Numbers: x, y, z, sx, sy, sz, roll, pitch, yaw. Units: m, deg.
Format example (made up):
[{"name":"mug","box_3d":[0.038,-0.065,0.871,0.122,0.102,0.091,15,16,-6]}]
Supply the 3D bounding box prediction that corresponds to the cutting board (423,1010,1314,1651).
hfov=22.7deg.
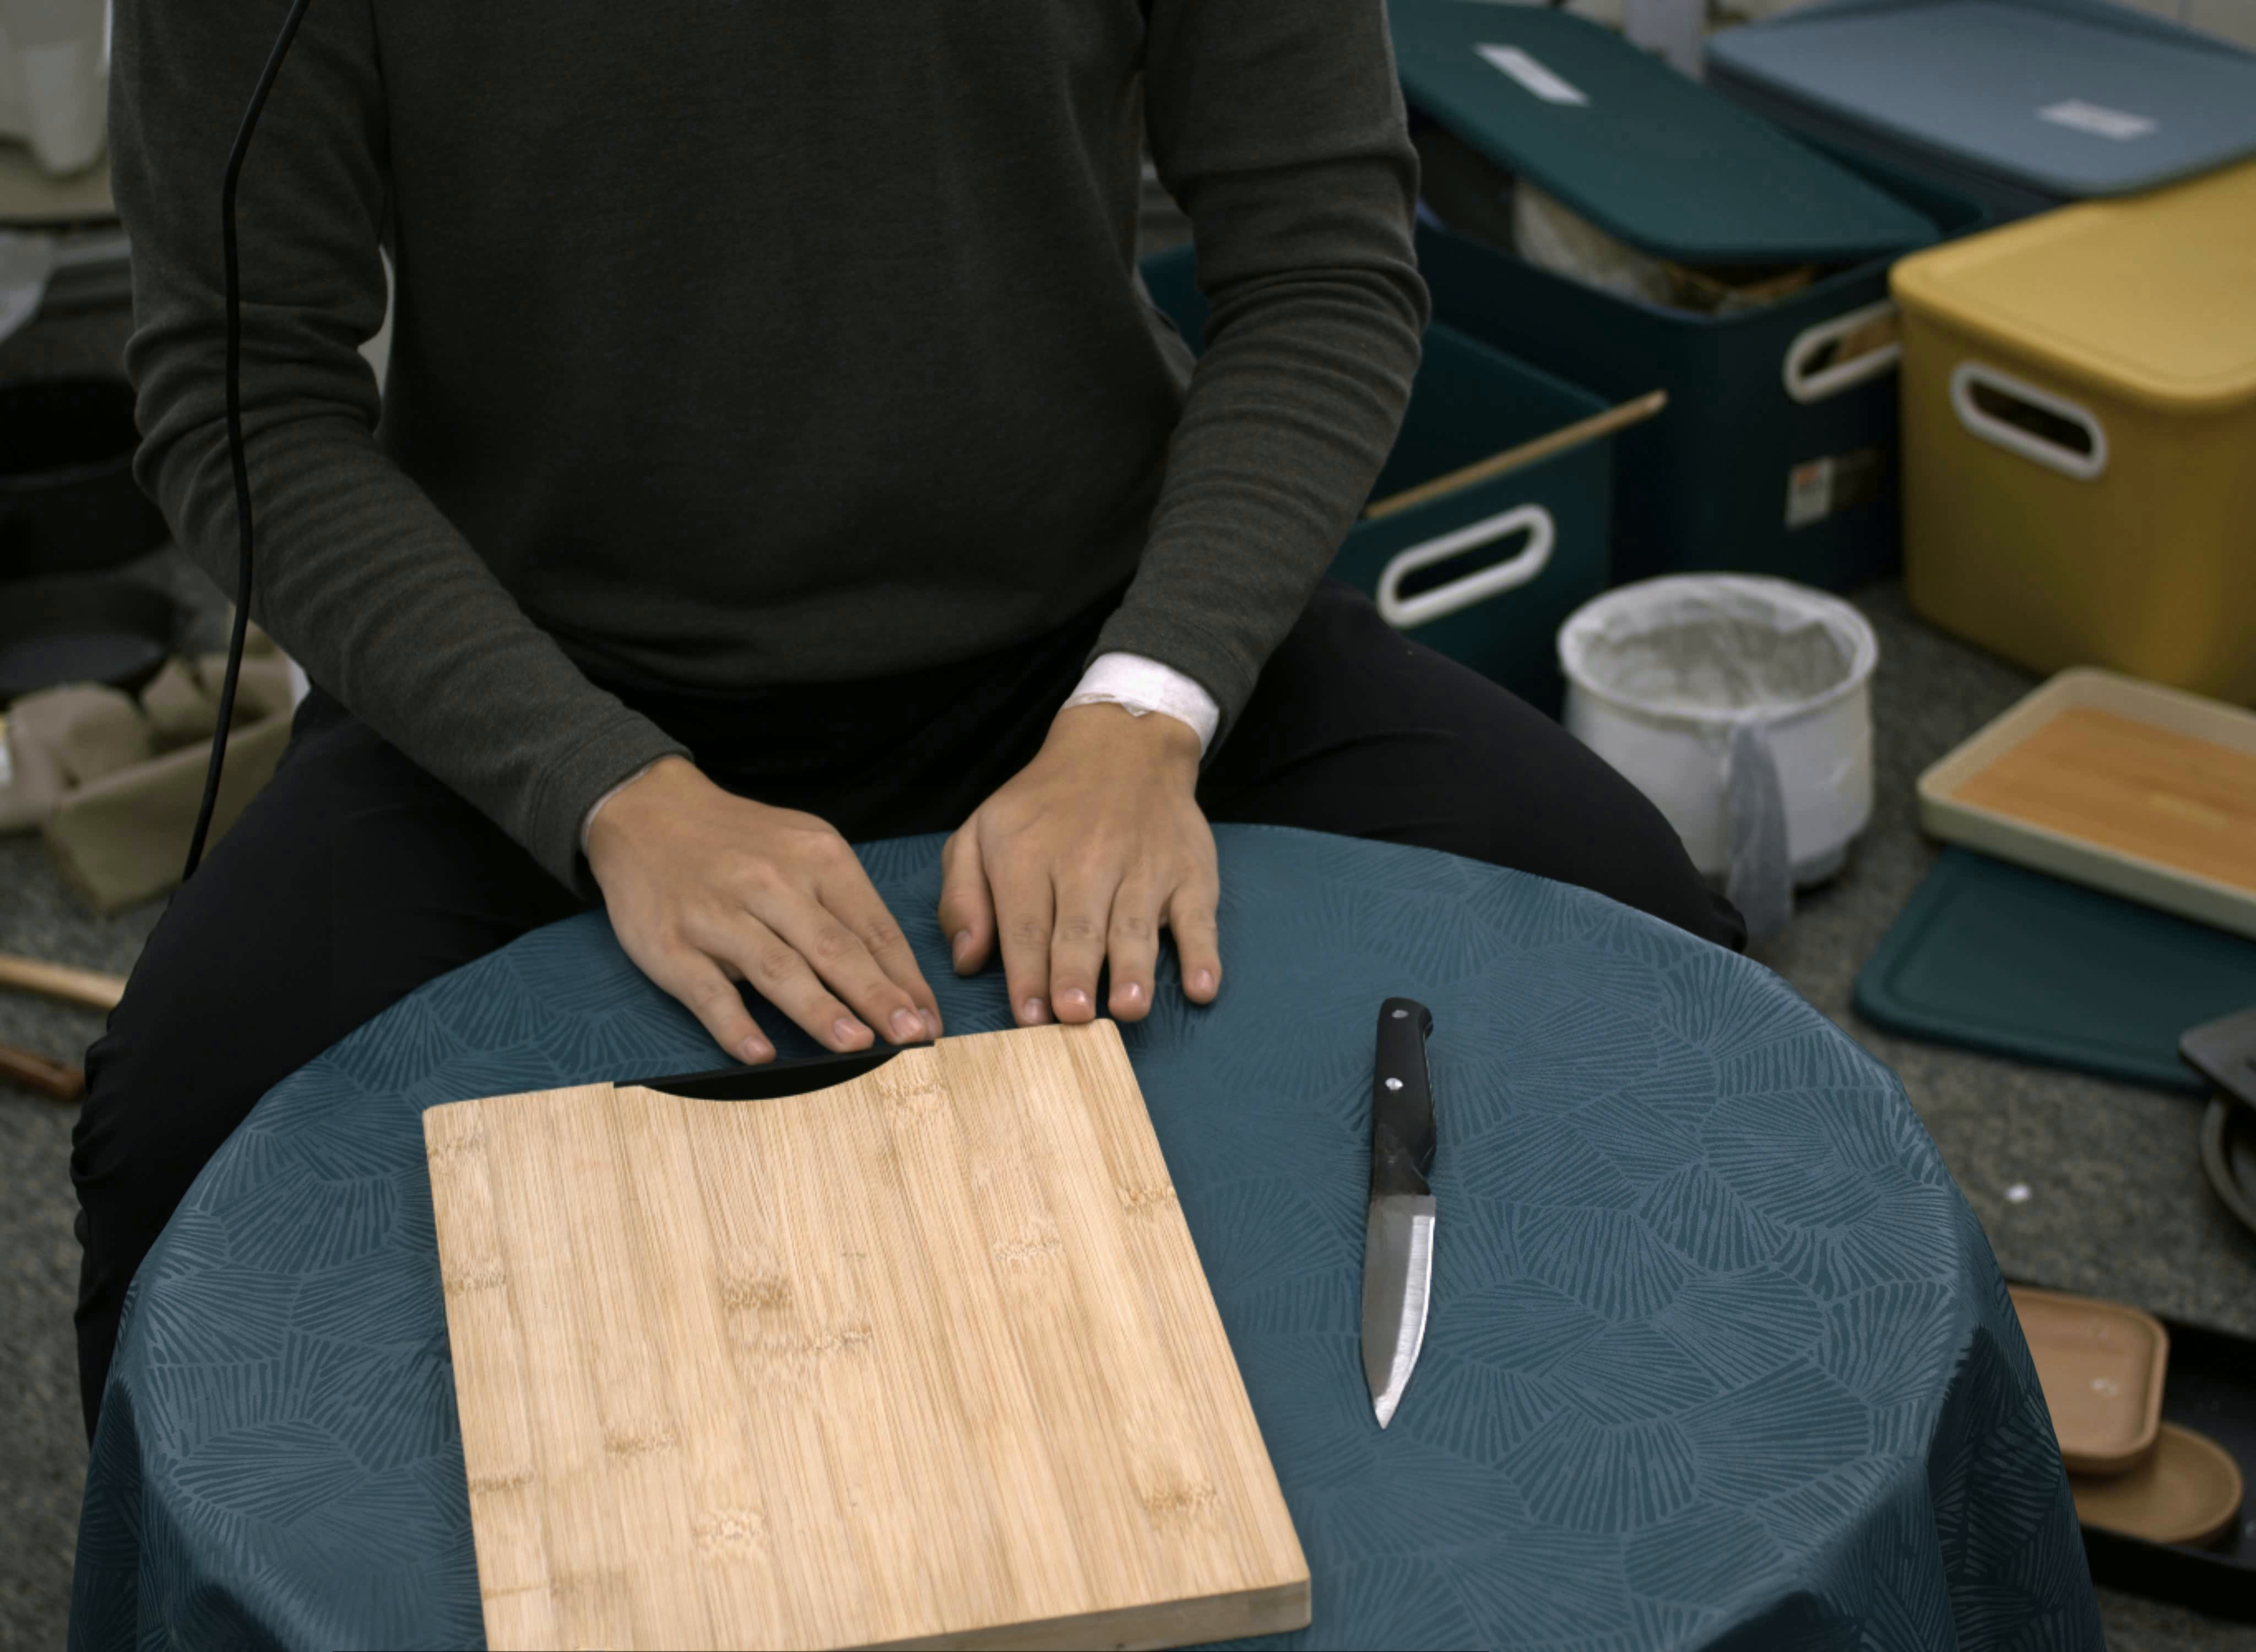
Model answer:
[{"name":"cutting board","box_3d":[-0.092,0.163,1.773,0.250,0.023,0.353,-7,28,-9]}]

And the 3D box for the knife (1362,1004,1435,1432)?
[{"name":"knife","box_3d":[0.088,0.126,1.832,0.024,0.016,0.242,-3,30,5]}]
